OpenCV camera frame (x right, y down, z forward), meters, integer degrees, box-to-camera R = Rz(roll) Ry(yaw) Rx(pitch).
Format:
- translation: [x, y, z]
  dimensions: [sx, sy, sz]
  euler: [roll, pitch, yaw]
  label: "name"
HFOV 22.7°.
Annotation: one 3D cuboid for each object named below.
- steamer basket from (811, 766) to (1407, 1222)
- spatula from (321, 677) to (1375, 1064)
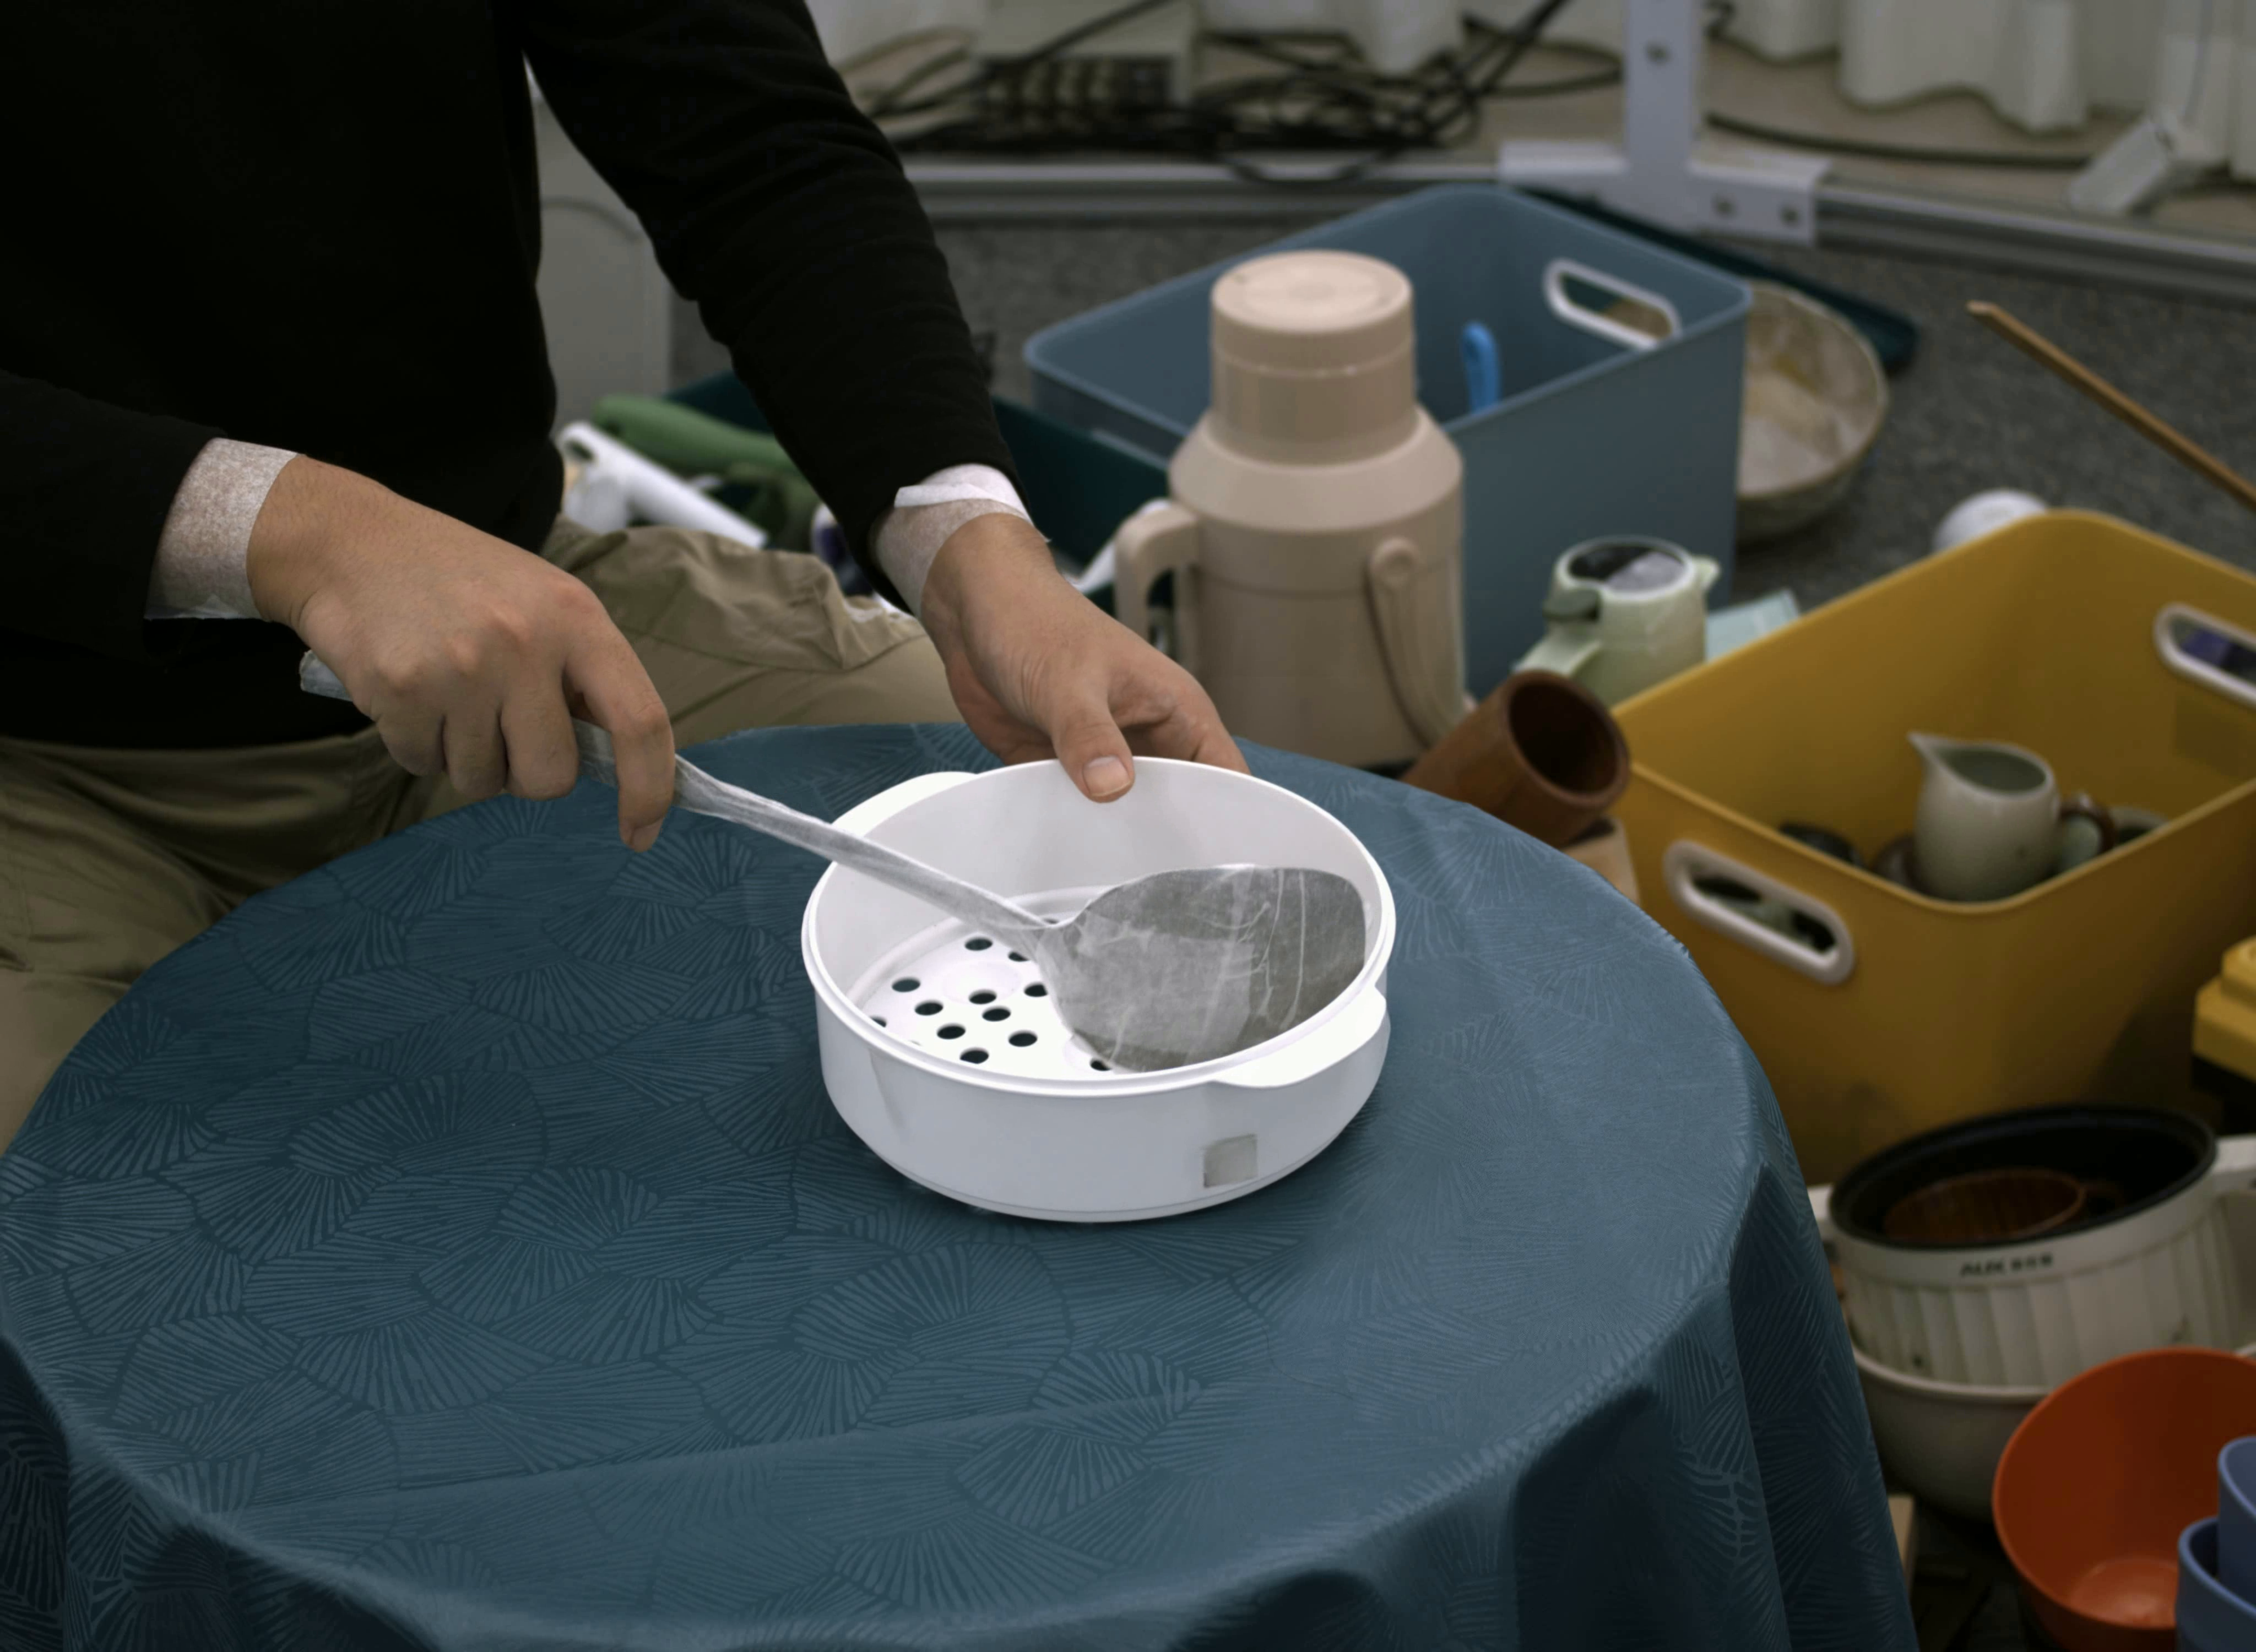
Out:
- translation: [-0.006, 0.057, 1.901]
  dimensions: [0.204, 0.068, 0.230]
  euler: [-27, 39, -36]
  label: "steamer basket"
- translation: [-0.095, 0.005, 1.883]
  dimensions: [0.363, 0.097, 0.045]
  euler: [20, 38, 8]
  label: "spatula"
